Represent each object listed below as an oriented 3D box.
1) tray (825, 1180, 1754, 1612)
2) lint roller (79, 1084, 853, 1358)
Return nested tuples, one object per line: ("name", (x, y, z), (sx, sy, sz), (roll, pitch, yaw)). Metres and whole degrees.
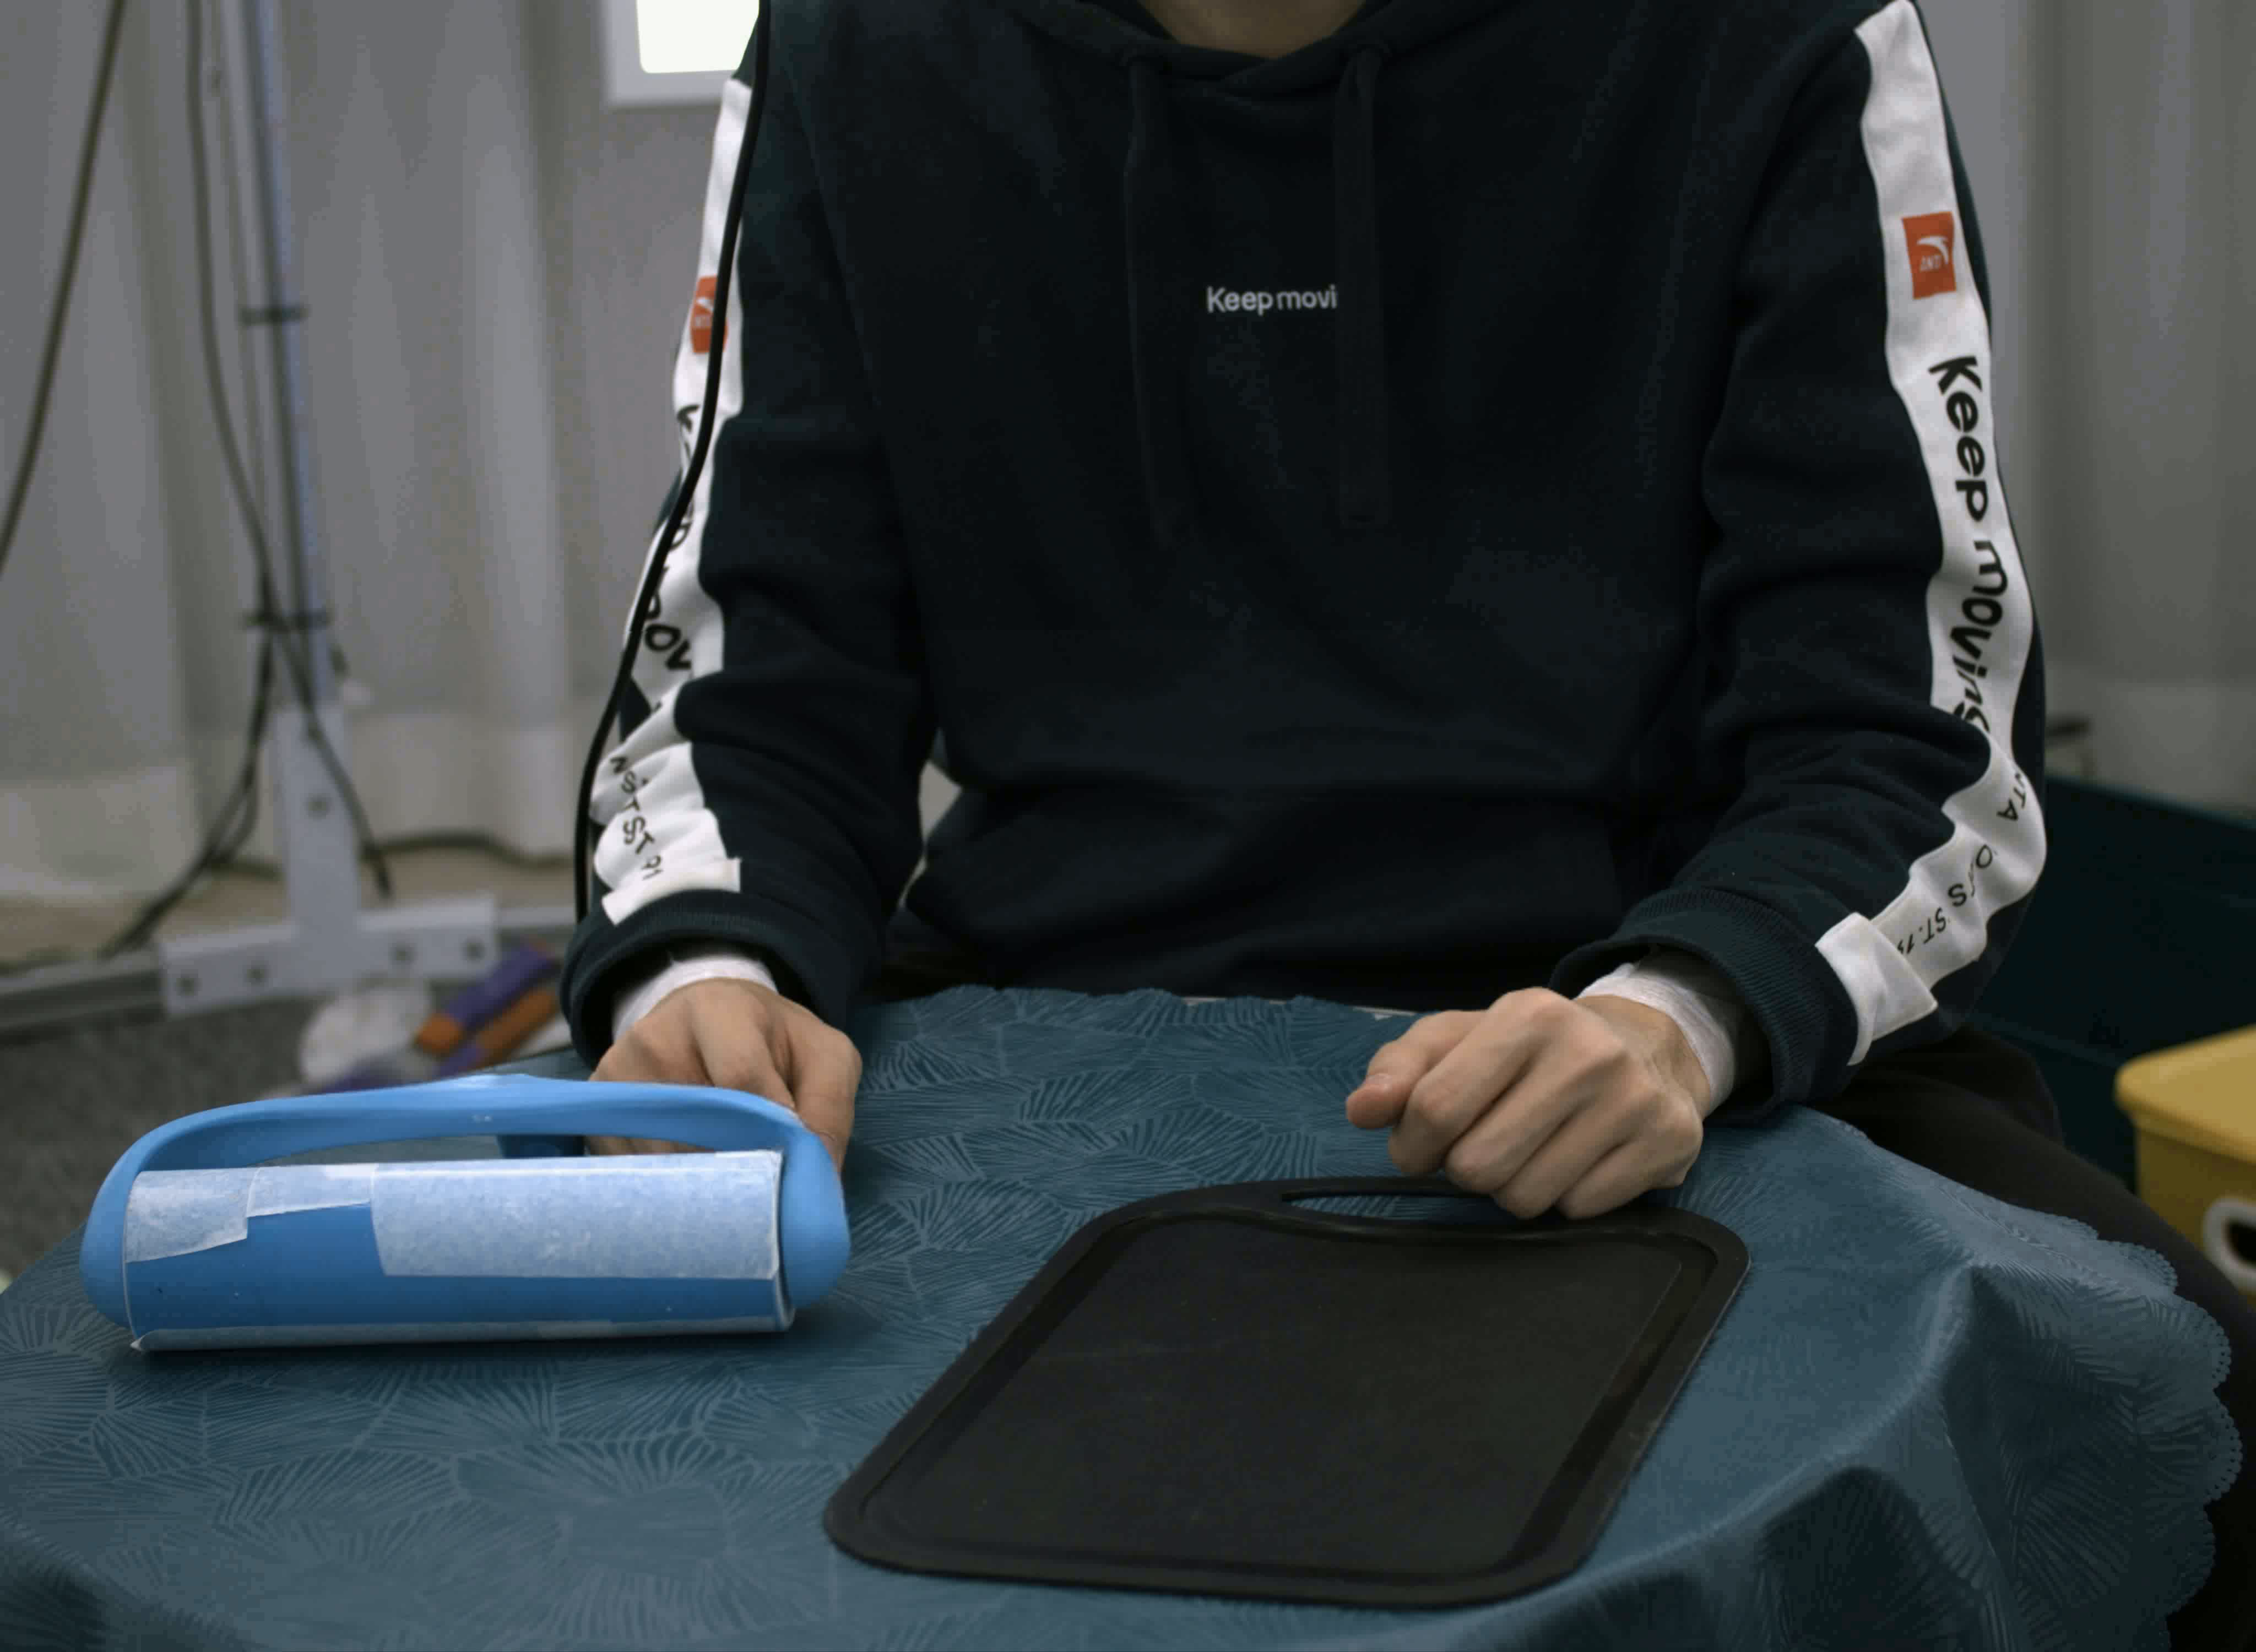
("tray", (0.054, 0.152, 1.549), (0.211, 0.010, 0.326), (2, 16, 18))
("lint roller", (-0.195, 0.109, 1.666), (0.228, 0.067, 0.181), (-4, 15, 1))
